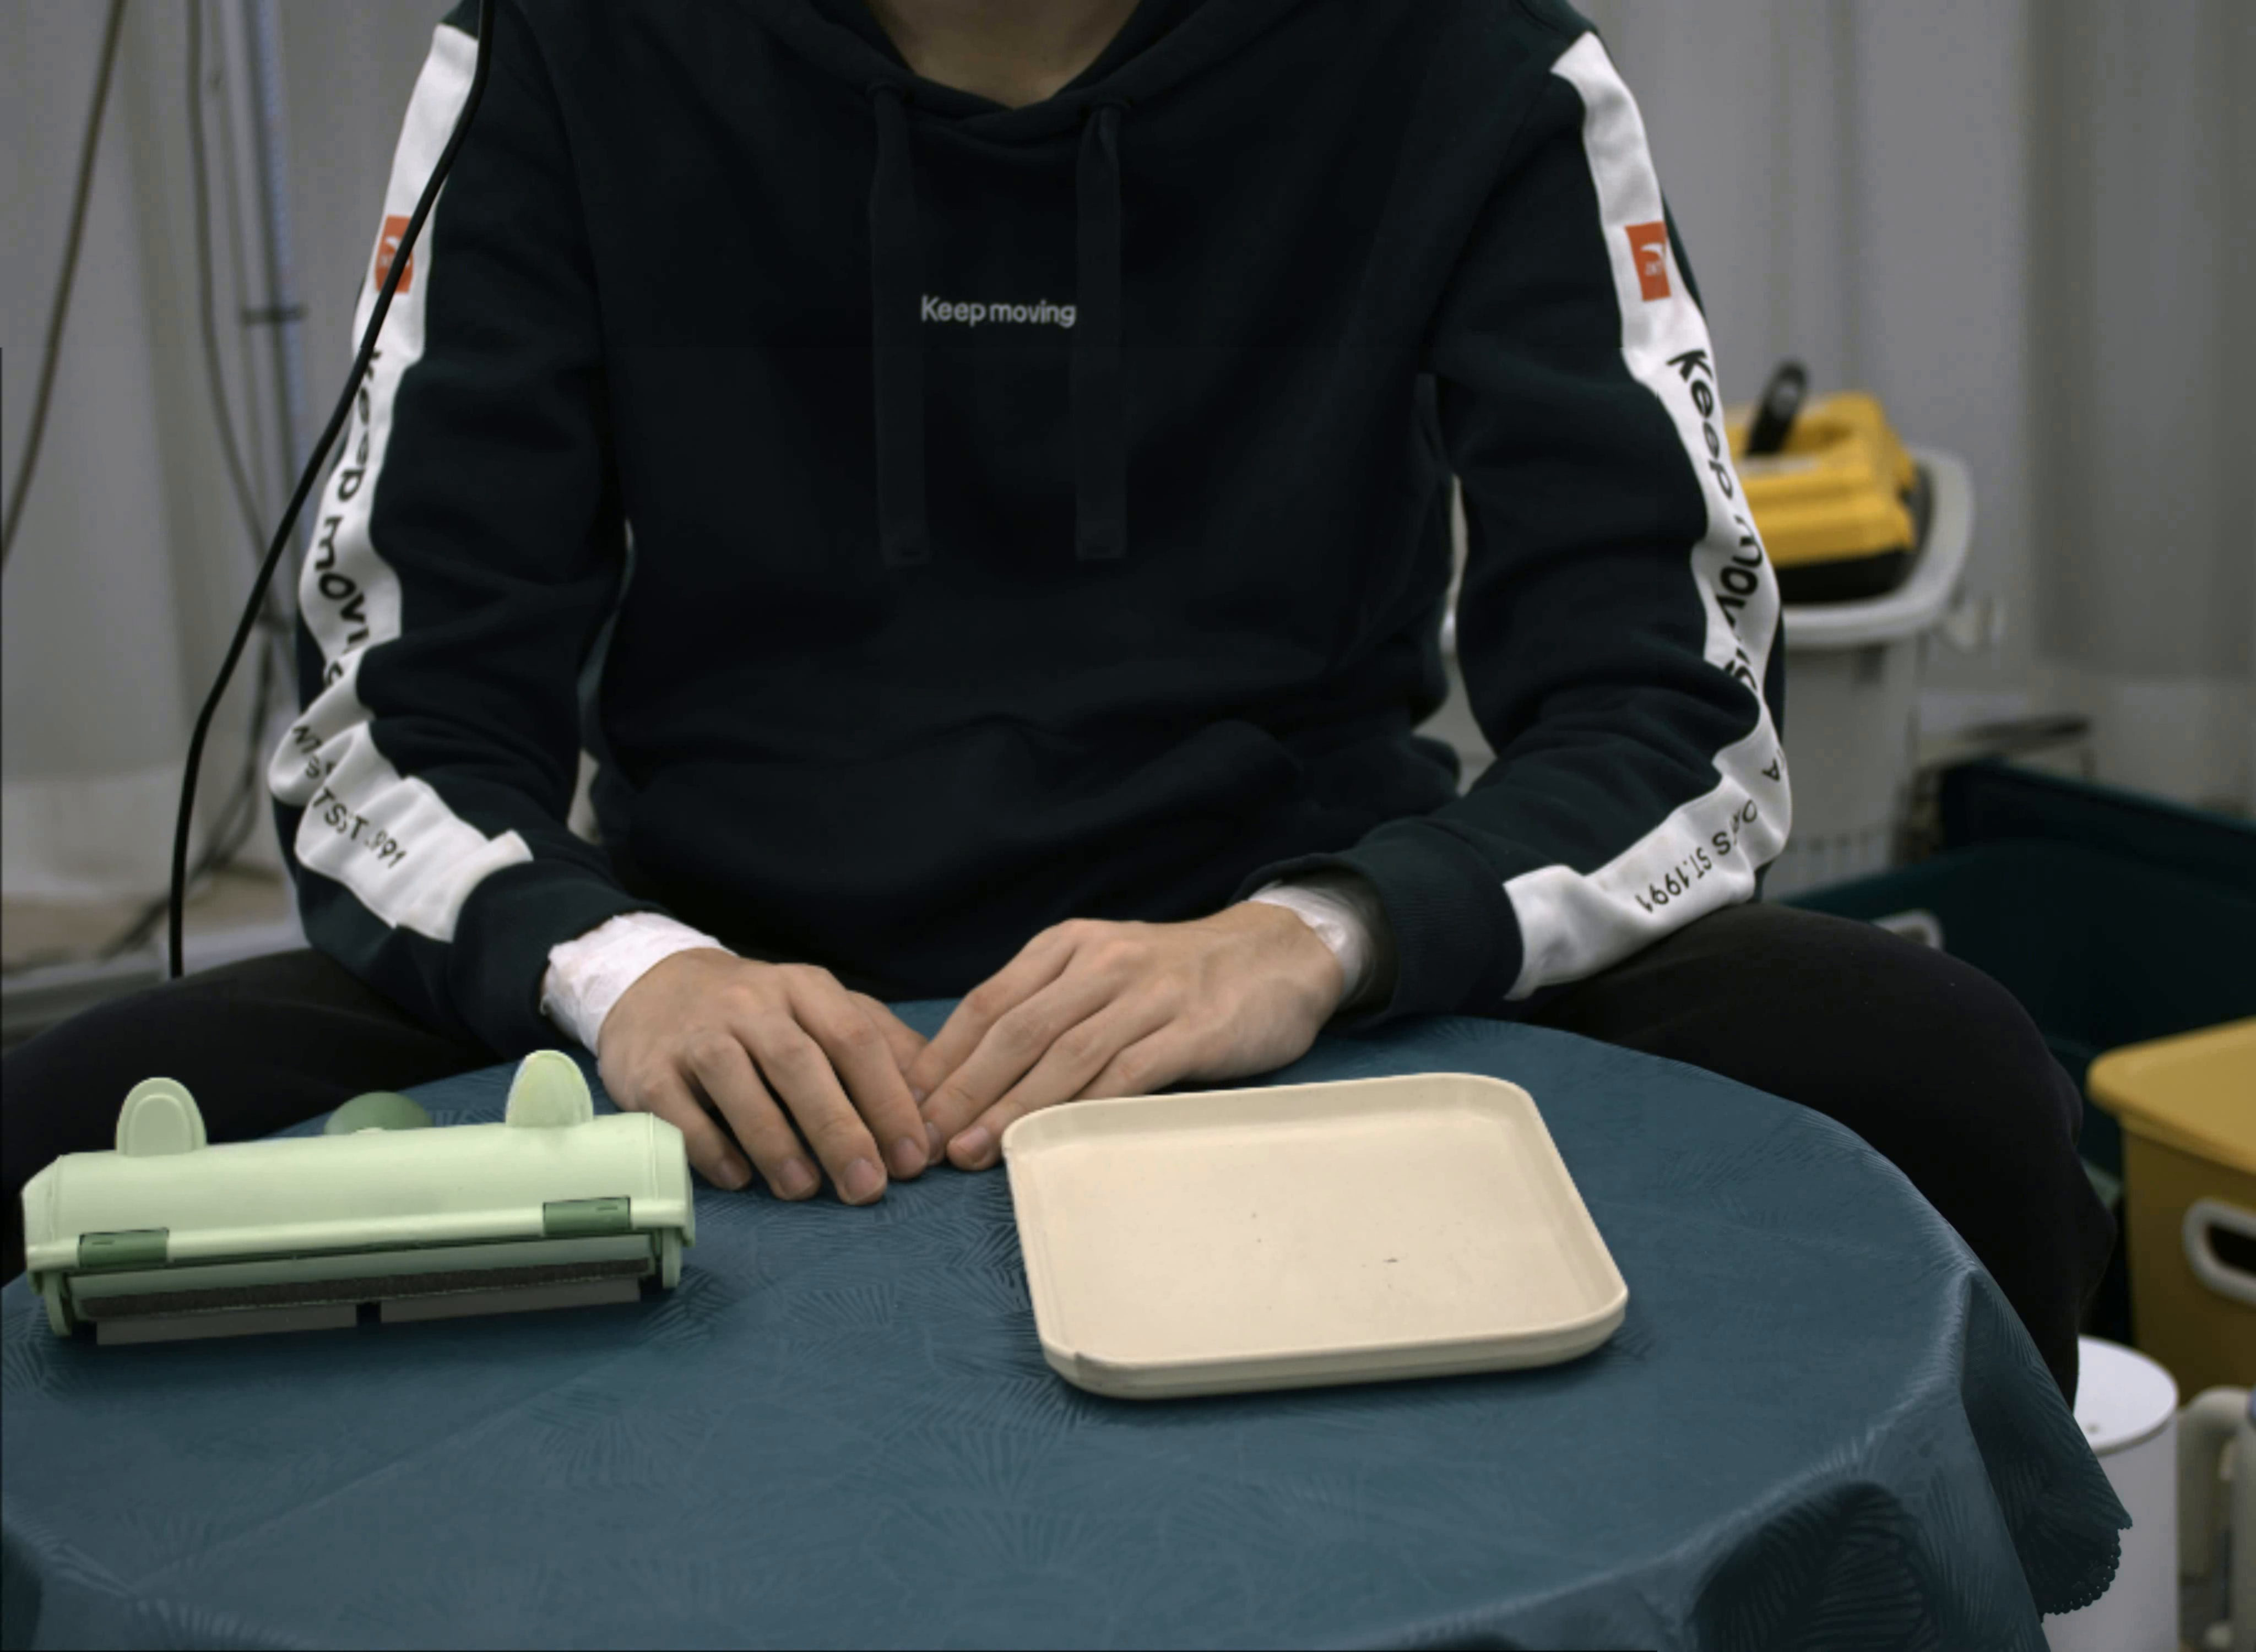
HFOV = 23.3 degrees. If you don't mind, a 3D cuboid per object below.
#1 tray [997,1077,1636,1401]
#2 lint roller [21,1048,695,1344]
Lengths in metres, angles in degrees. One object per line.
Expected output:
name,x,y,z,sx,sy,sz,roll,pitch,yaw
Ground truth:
tray,0.052,0.123,1.640,0.170,0.017,0.241,-4,15,-4
lint roller,-0.234,0.095,1.687,0.198,0.082,0.185,-4,19,-4
